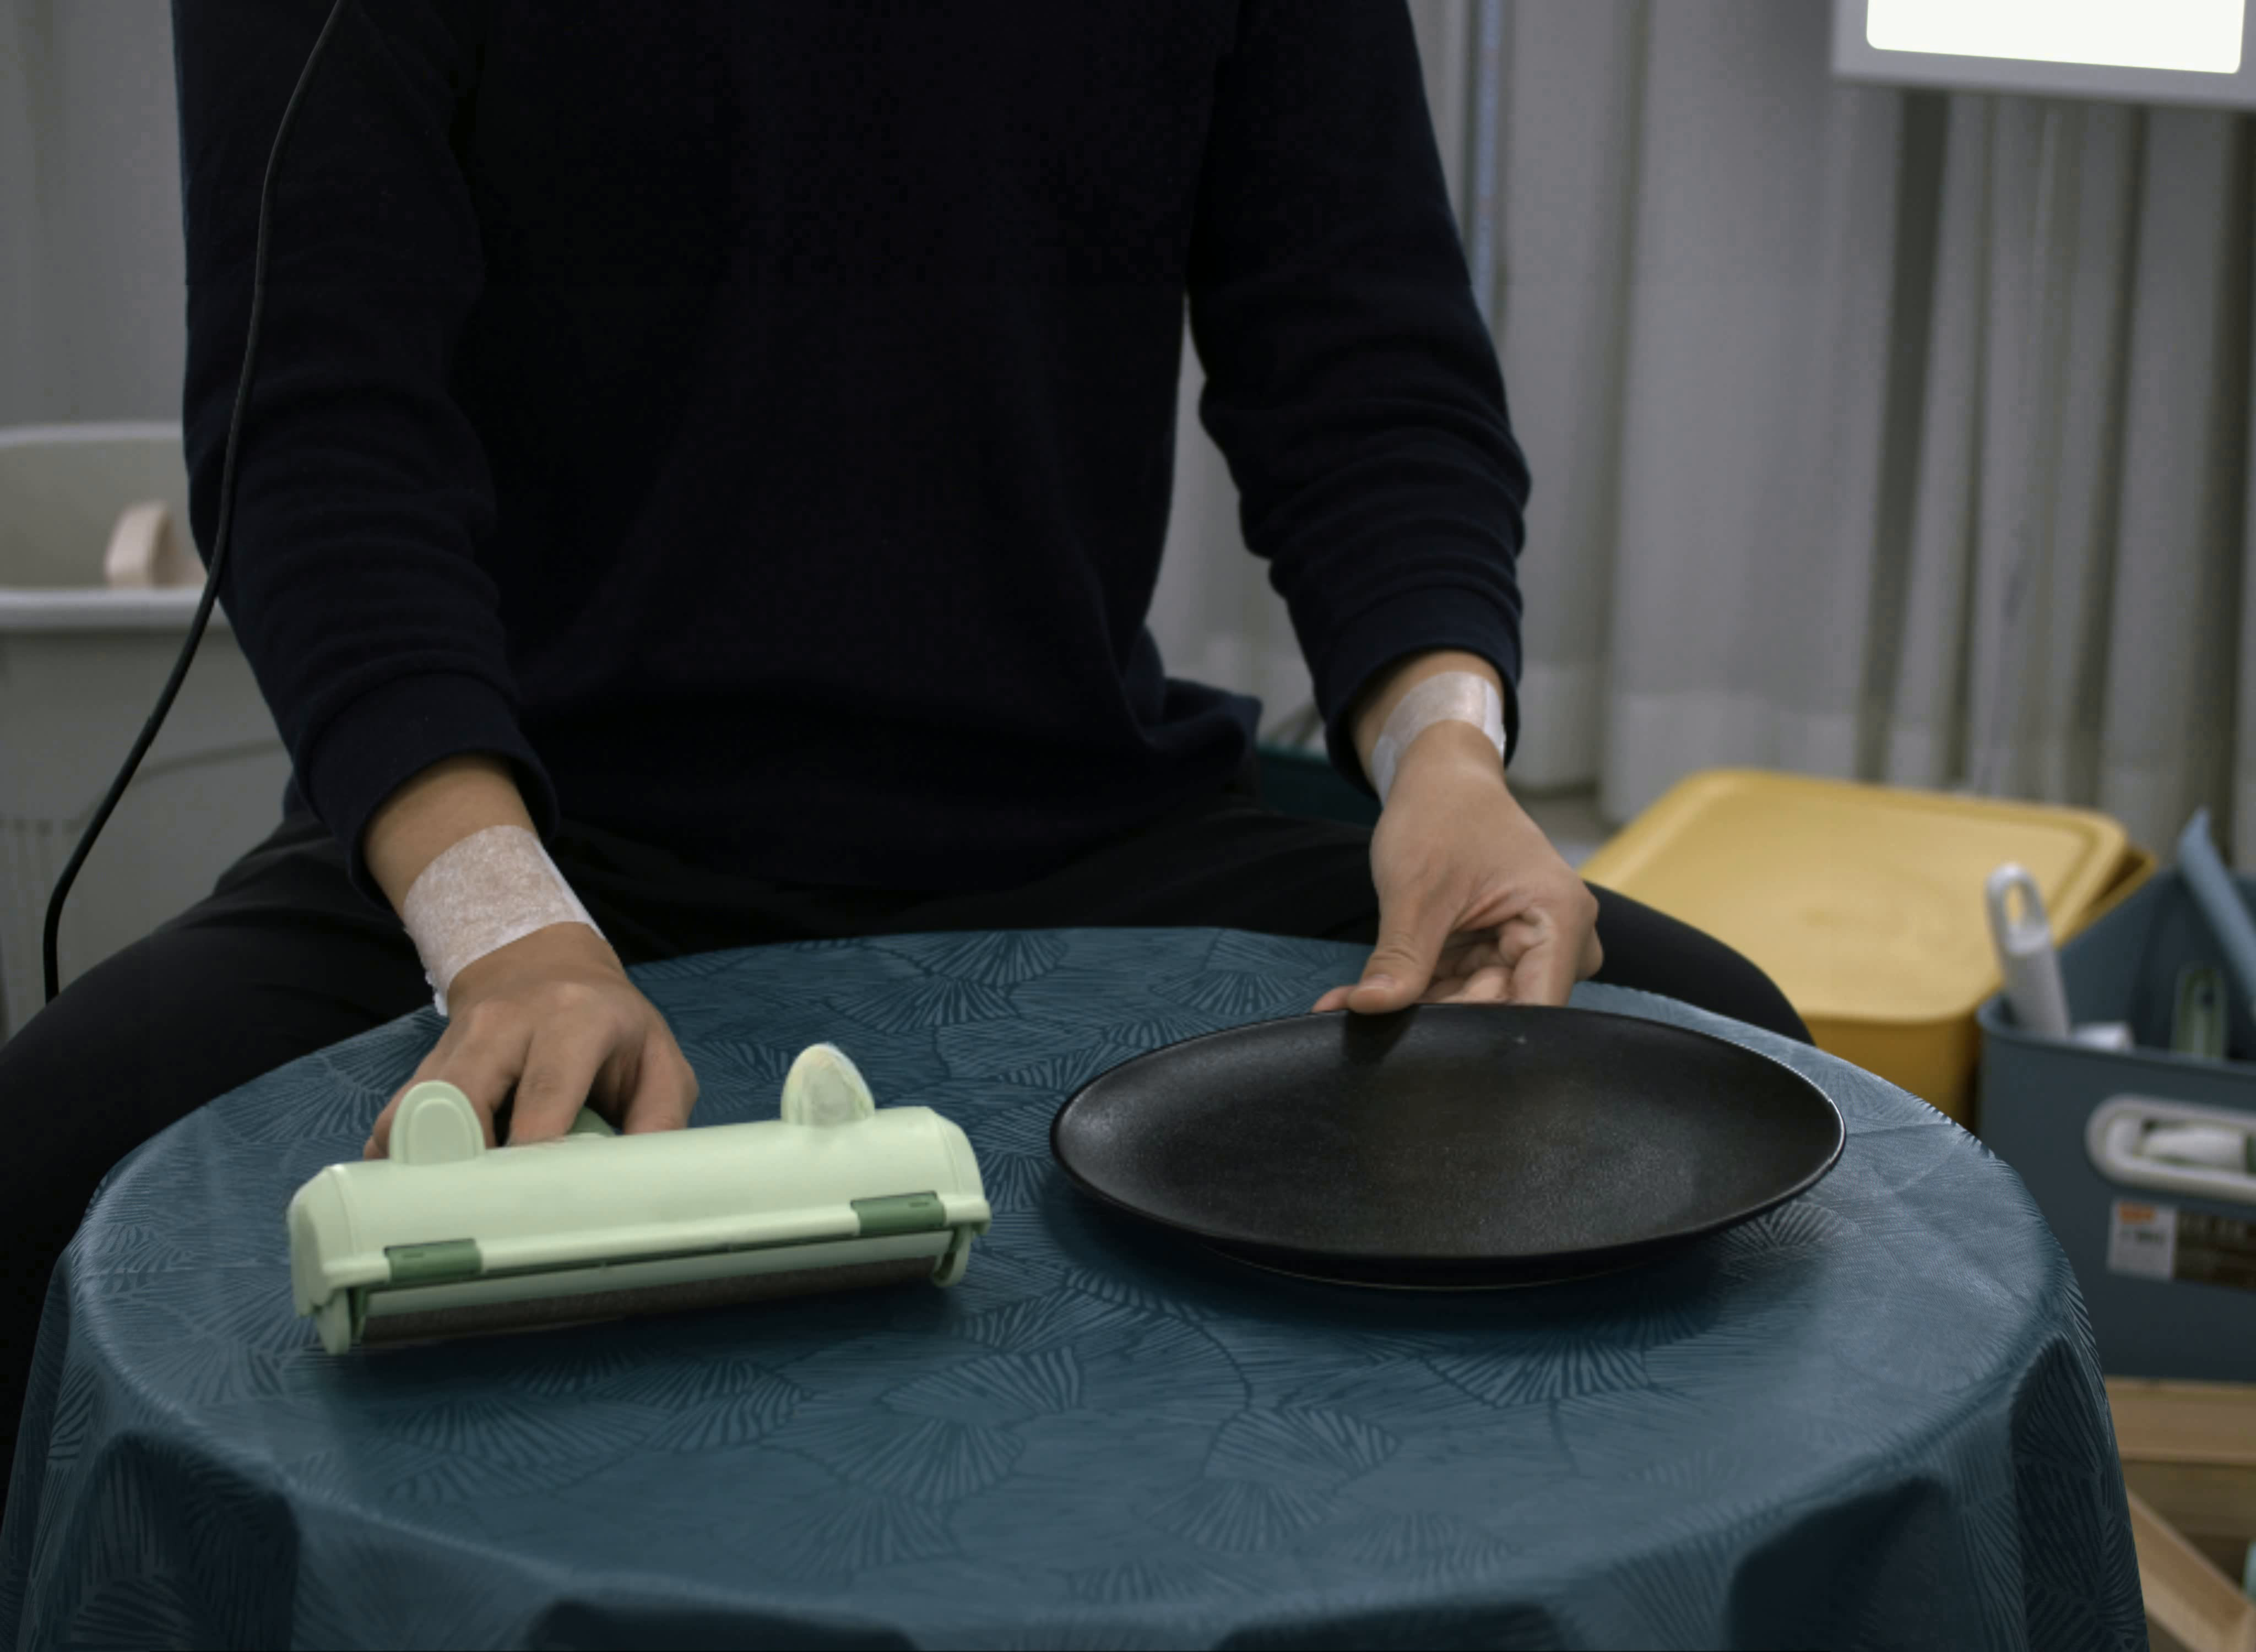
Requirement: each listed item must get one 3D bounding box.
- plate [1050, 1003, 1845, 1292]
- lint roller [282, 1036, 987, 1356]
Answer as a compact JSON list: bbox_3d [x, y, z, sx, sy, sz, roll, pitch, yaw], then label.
[{"bbox_3d":[0.098,0.100,1.615,0.243,0.023,0.243,-1,16,1],"label":"plate"},{"bbox_3d":[-0.159,0.088,1.546,0.199,0.083,0.181,-4,23,-21],"label":"lint roller"}]
